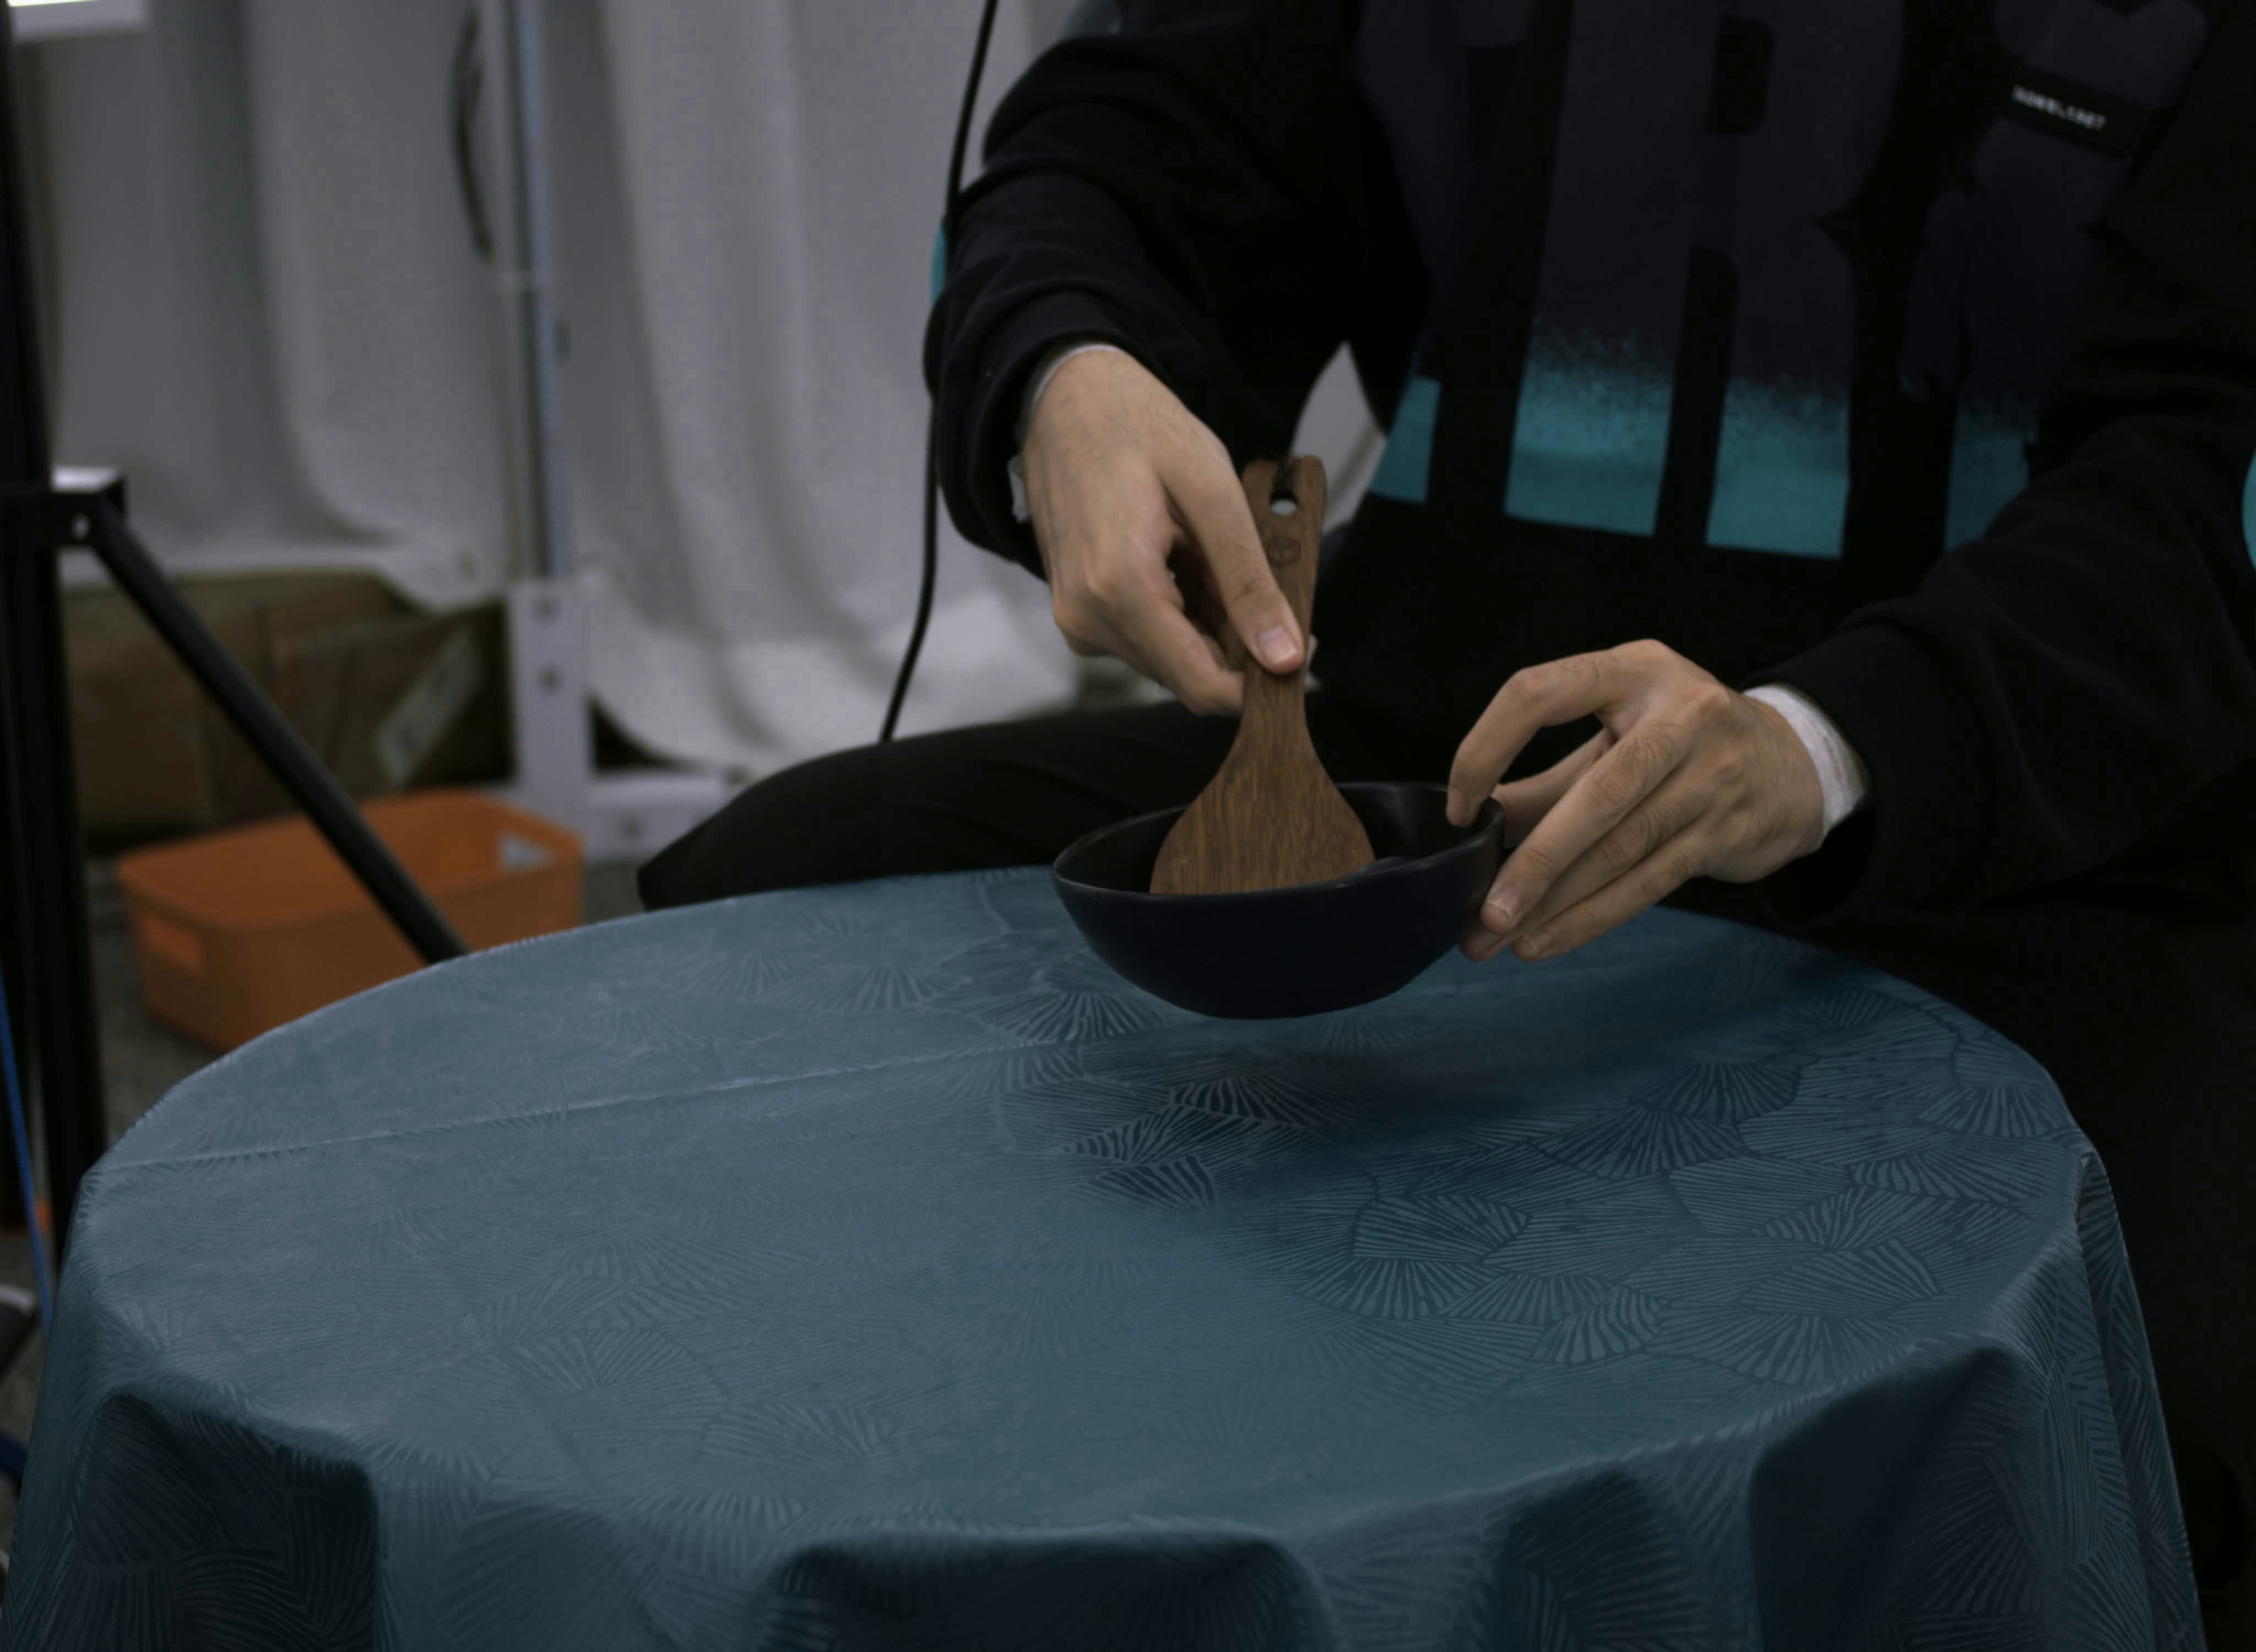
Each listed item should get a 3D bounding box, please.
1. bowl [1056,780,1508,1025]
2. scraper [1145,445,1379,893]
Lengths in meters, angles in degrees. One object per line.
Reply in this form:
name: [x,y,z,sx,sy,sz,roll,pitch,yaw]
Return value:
bowl: [0.050,0.027,1.614,0.139,0.050,0.140,-10,11,1]
scraper: [0.046,-0.039,1.689,0.076,0.011,0.213,0,53,5]
